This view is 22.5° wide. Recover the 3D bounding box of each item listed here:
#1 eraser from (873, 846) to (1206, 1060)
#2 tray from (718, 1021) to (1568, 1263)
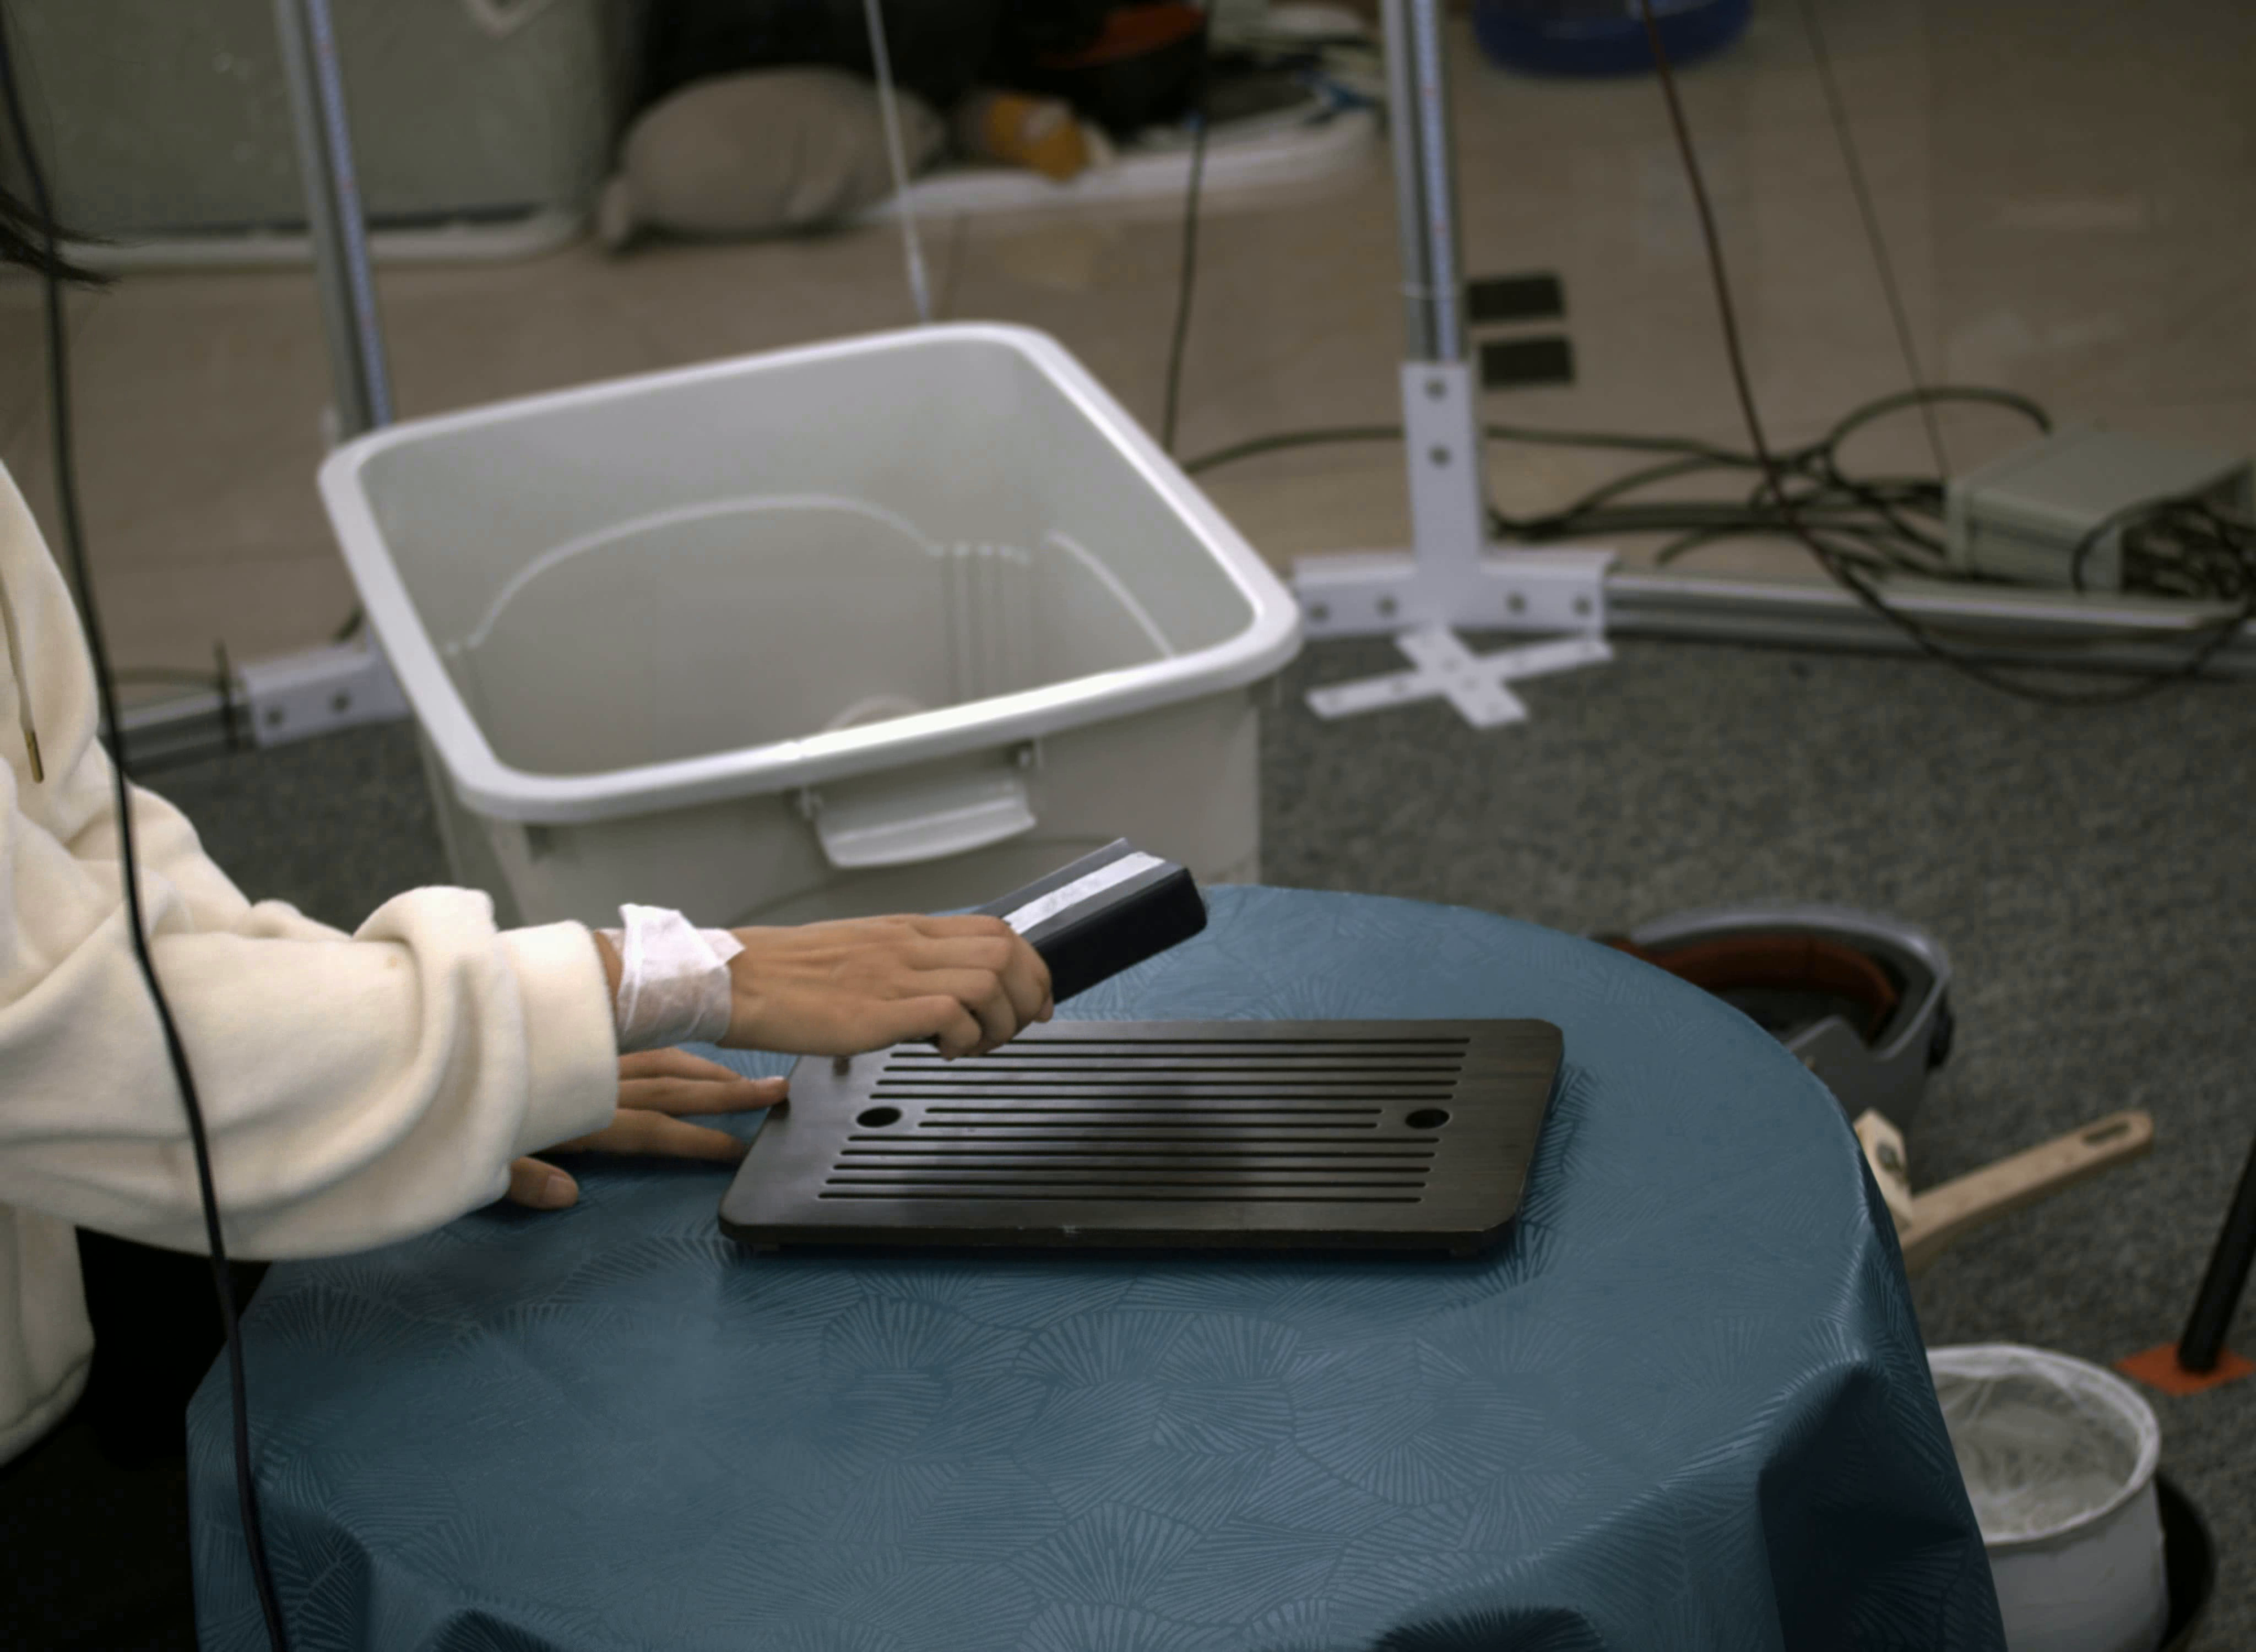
[{"bbox_3d":[-0.033,0.048,2.191,0.124,0.031,0.053,-27,27,-26],"label":"eraser"},{"bbox_3d":[0.008,0.121,2.163,0.305,0.019,0.167,0,26,13],"label":"tray"}]
